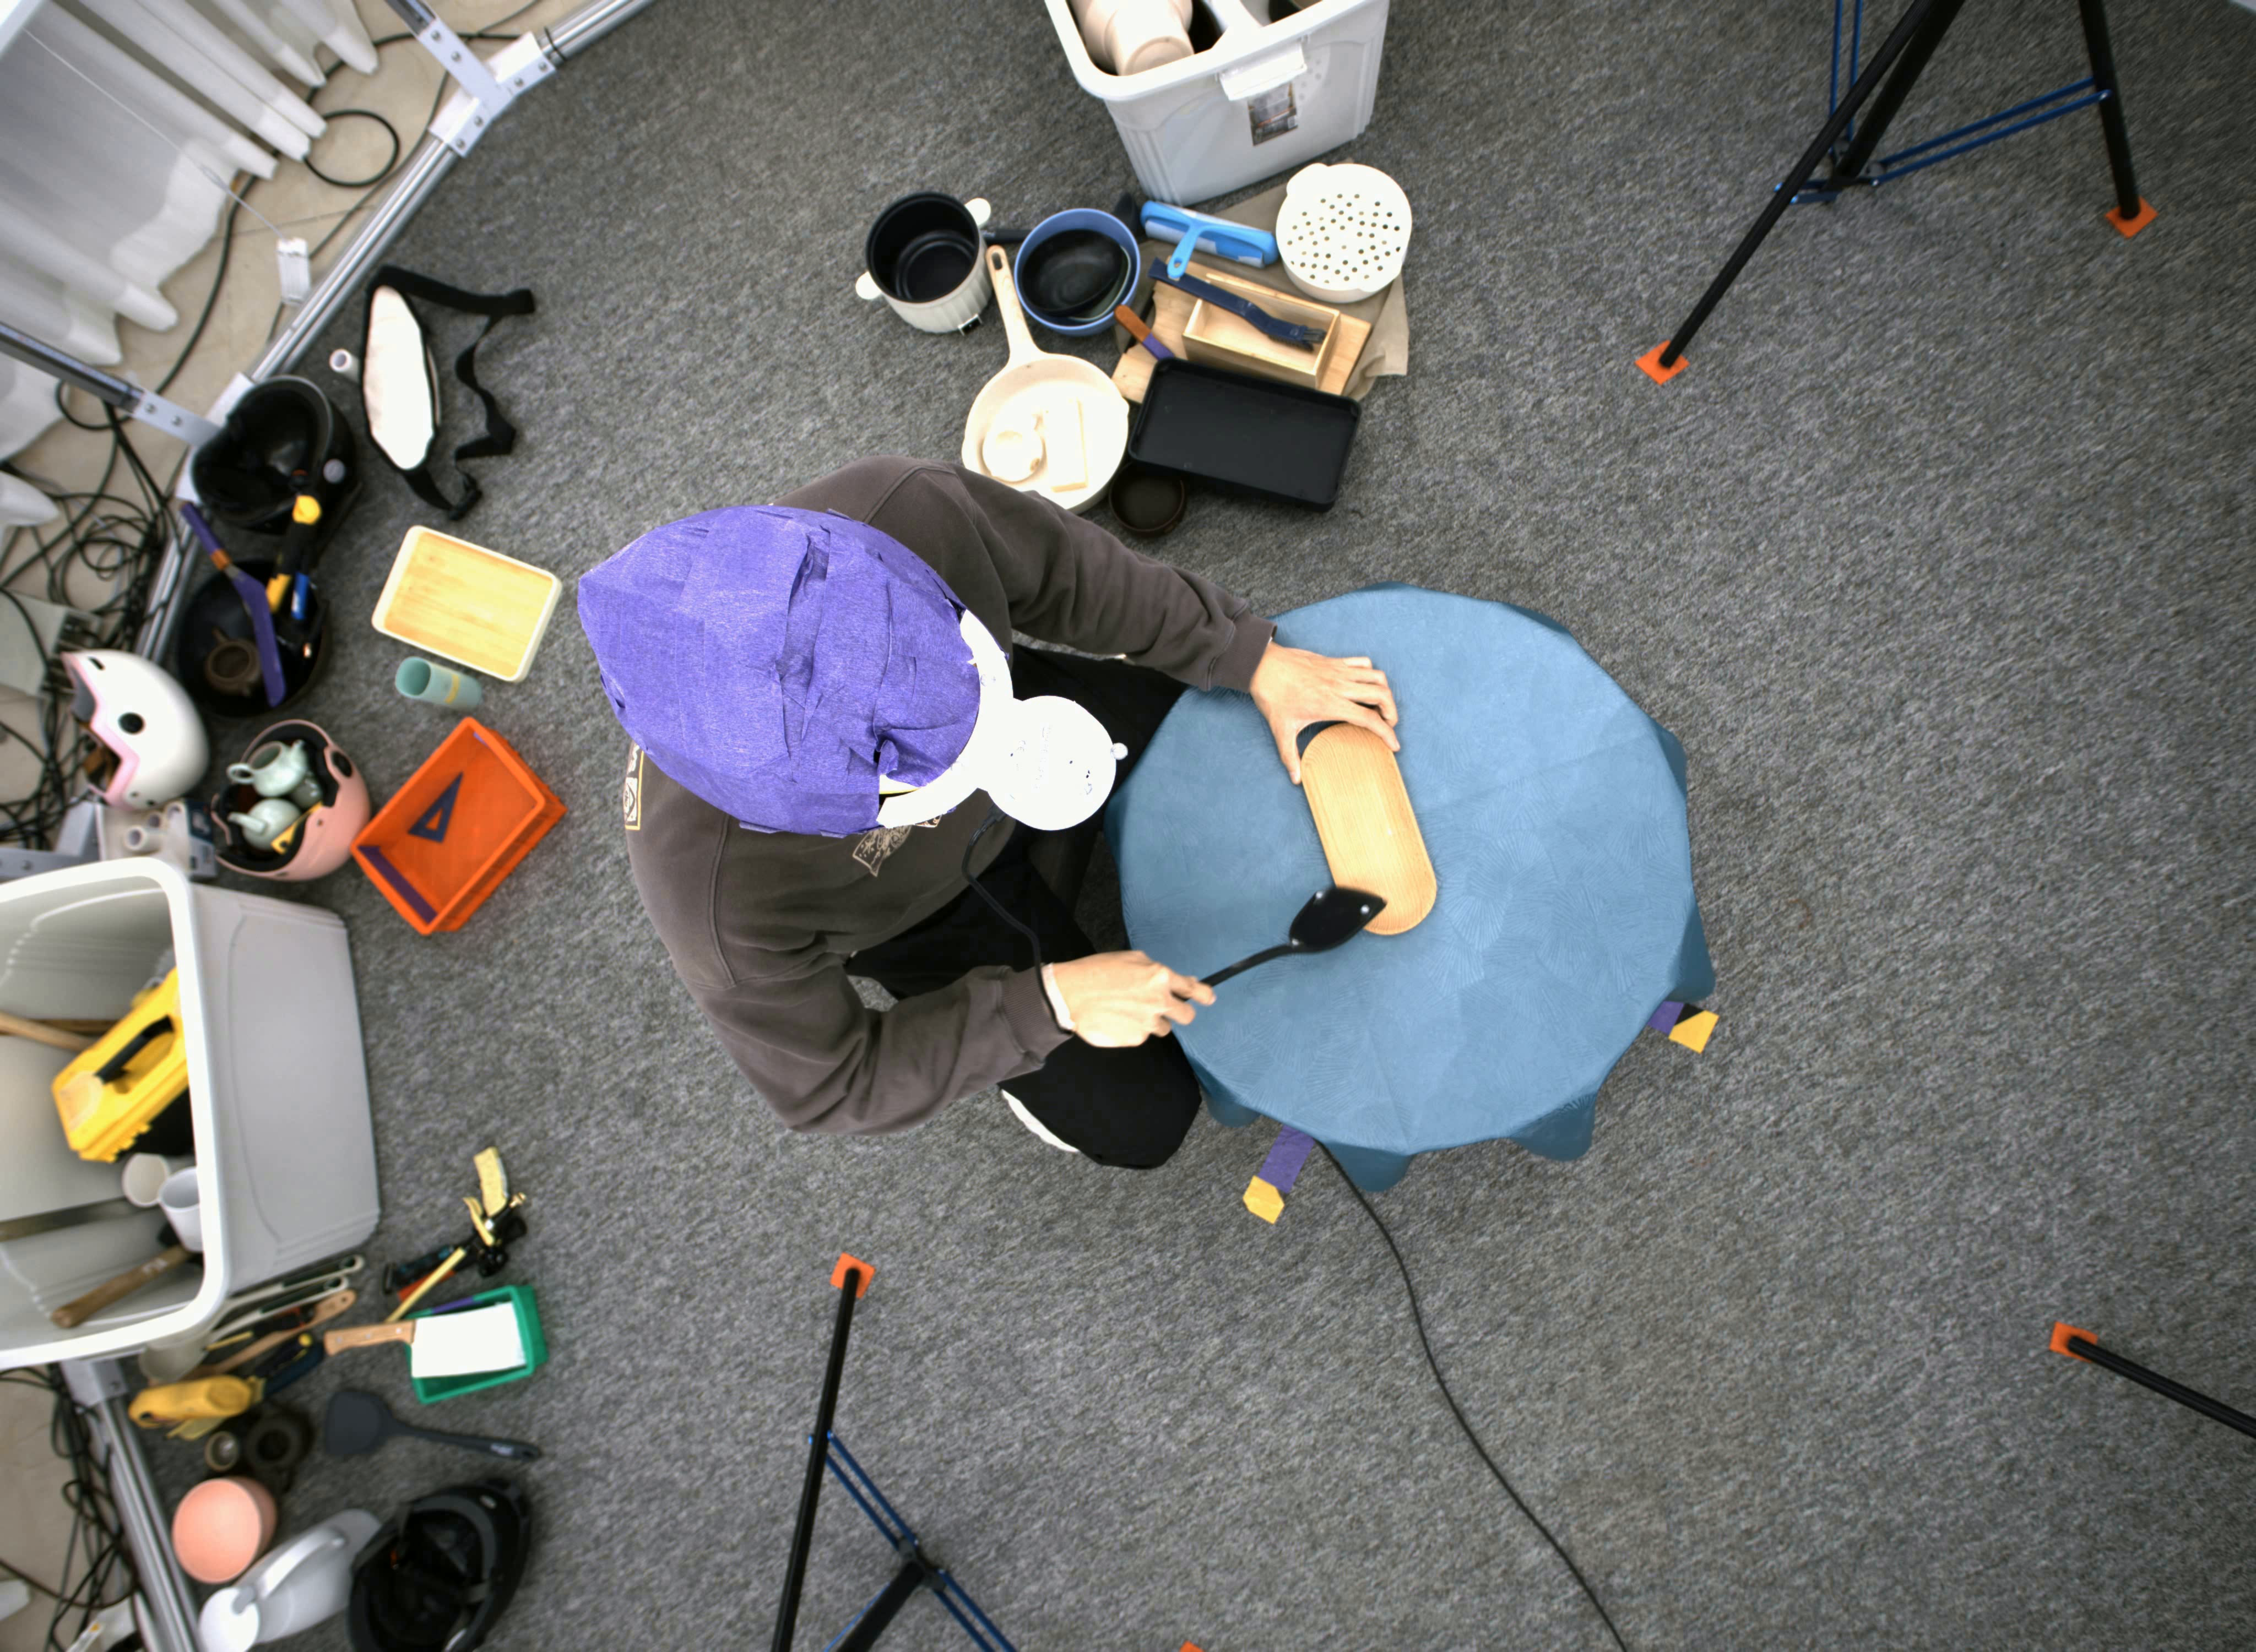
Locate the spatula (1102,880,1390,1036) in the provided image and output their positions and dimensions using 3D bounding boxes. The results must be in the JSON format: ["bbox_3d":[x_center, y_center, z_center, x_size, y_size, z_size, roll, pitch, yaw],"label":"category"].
[{"bbox_3d":[0.110,0.128,1.351,0.322,0.100,0.041,-21,107,-25],"label":"spatula"}]

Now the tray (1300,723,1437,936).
[{"bbox_3d":[0.253,0.002,1.456,0.102,0.020,0.230,-18,85,10],"label":"tray"}]
